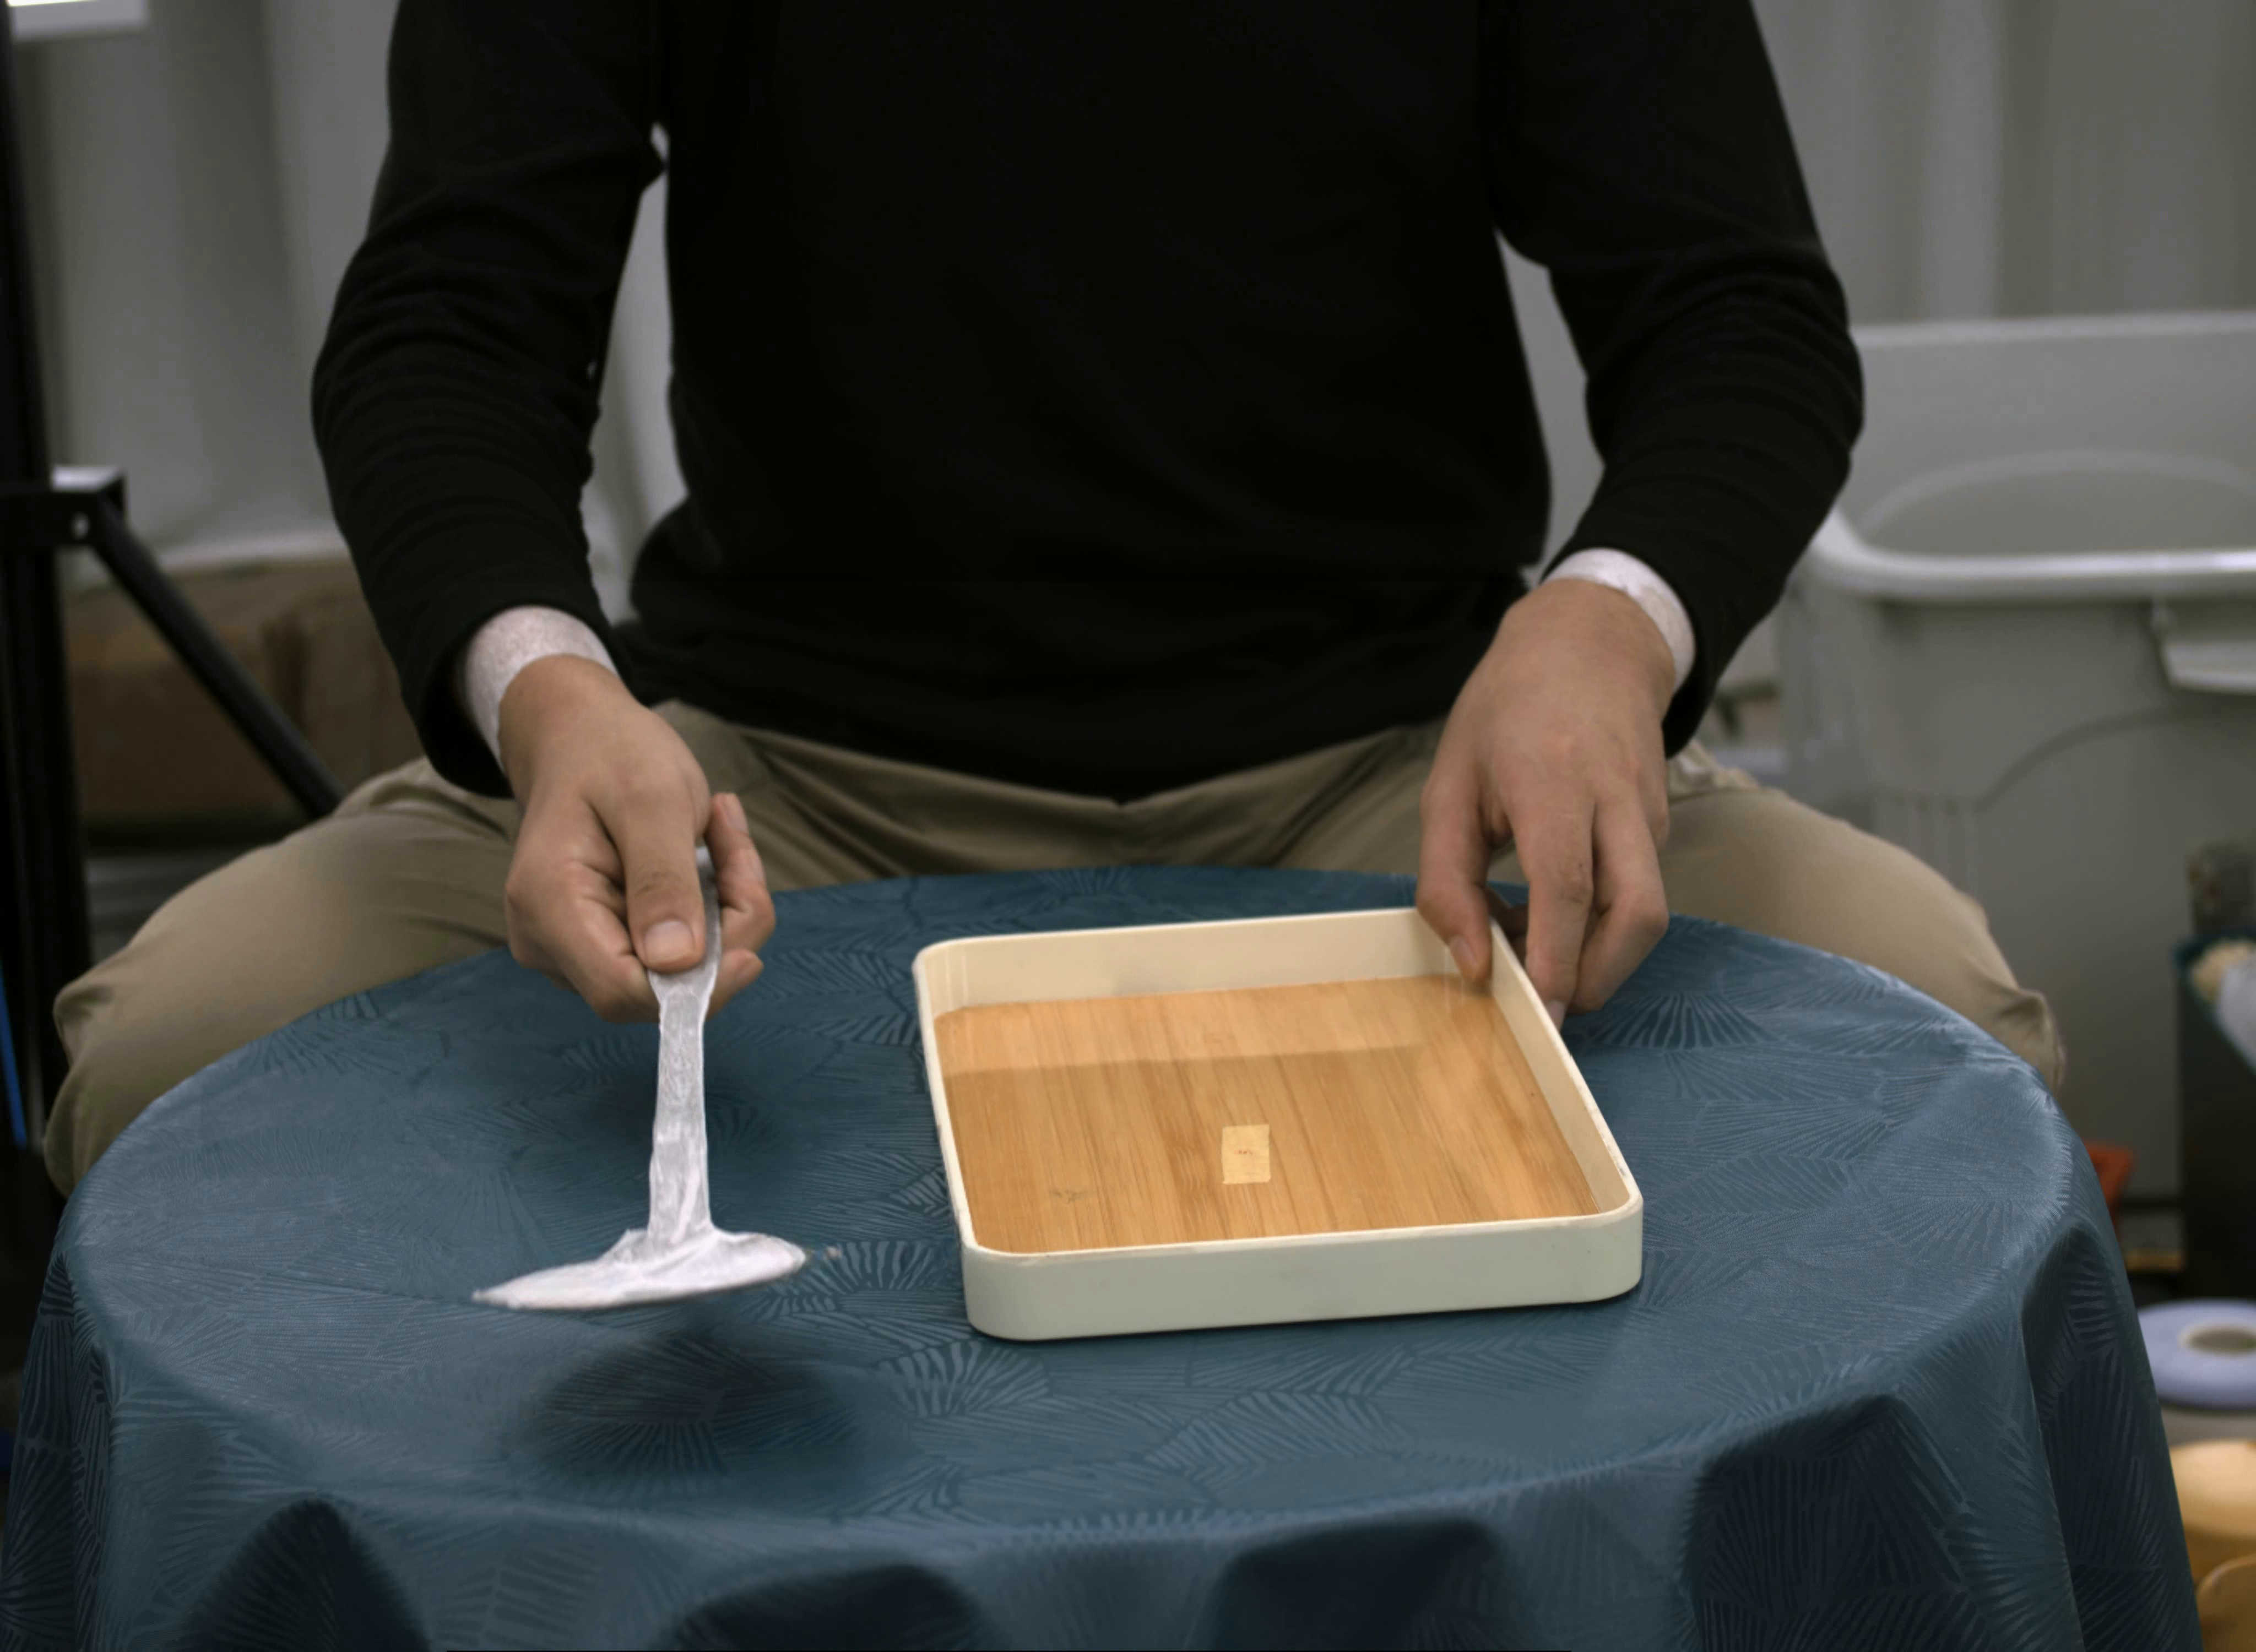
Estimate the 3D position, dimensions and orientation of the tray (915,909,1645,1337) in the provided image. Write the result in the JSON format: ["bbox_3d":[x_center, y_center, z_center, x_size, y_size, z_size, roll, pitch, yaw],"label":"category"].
[{"bbox_3d":[0.038,0.084,1.583,0.190,0.027,0.302,-4,16,-3],"label":"tray"}]

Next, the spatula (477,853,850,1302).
[{"bbox_3d":[-0.127,0.064,1.533,0.098,0.044,0.368,-8,23,0],"label":"spatula"}]
